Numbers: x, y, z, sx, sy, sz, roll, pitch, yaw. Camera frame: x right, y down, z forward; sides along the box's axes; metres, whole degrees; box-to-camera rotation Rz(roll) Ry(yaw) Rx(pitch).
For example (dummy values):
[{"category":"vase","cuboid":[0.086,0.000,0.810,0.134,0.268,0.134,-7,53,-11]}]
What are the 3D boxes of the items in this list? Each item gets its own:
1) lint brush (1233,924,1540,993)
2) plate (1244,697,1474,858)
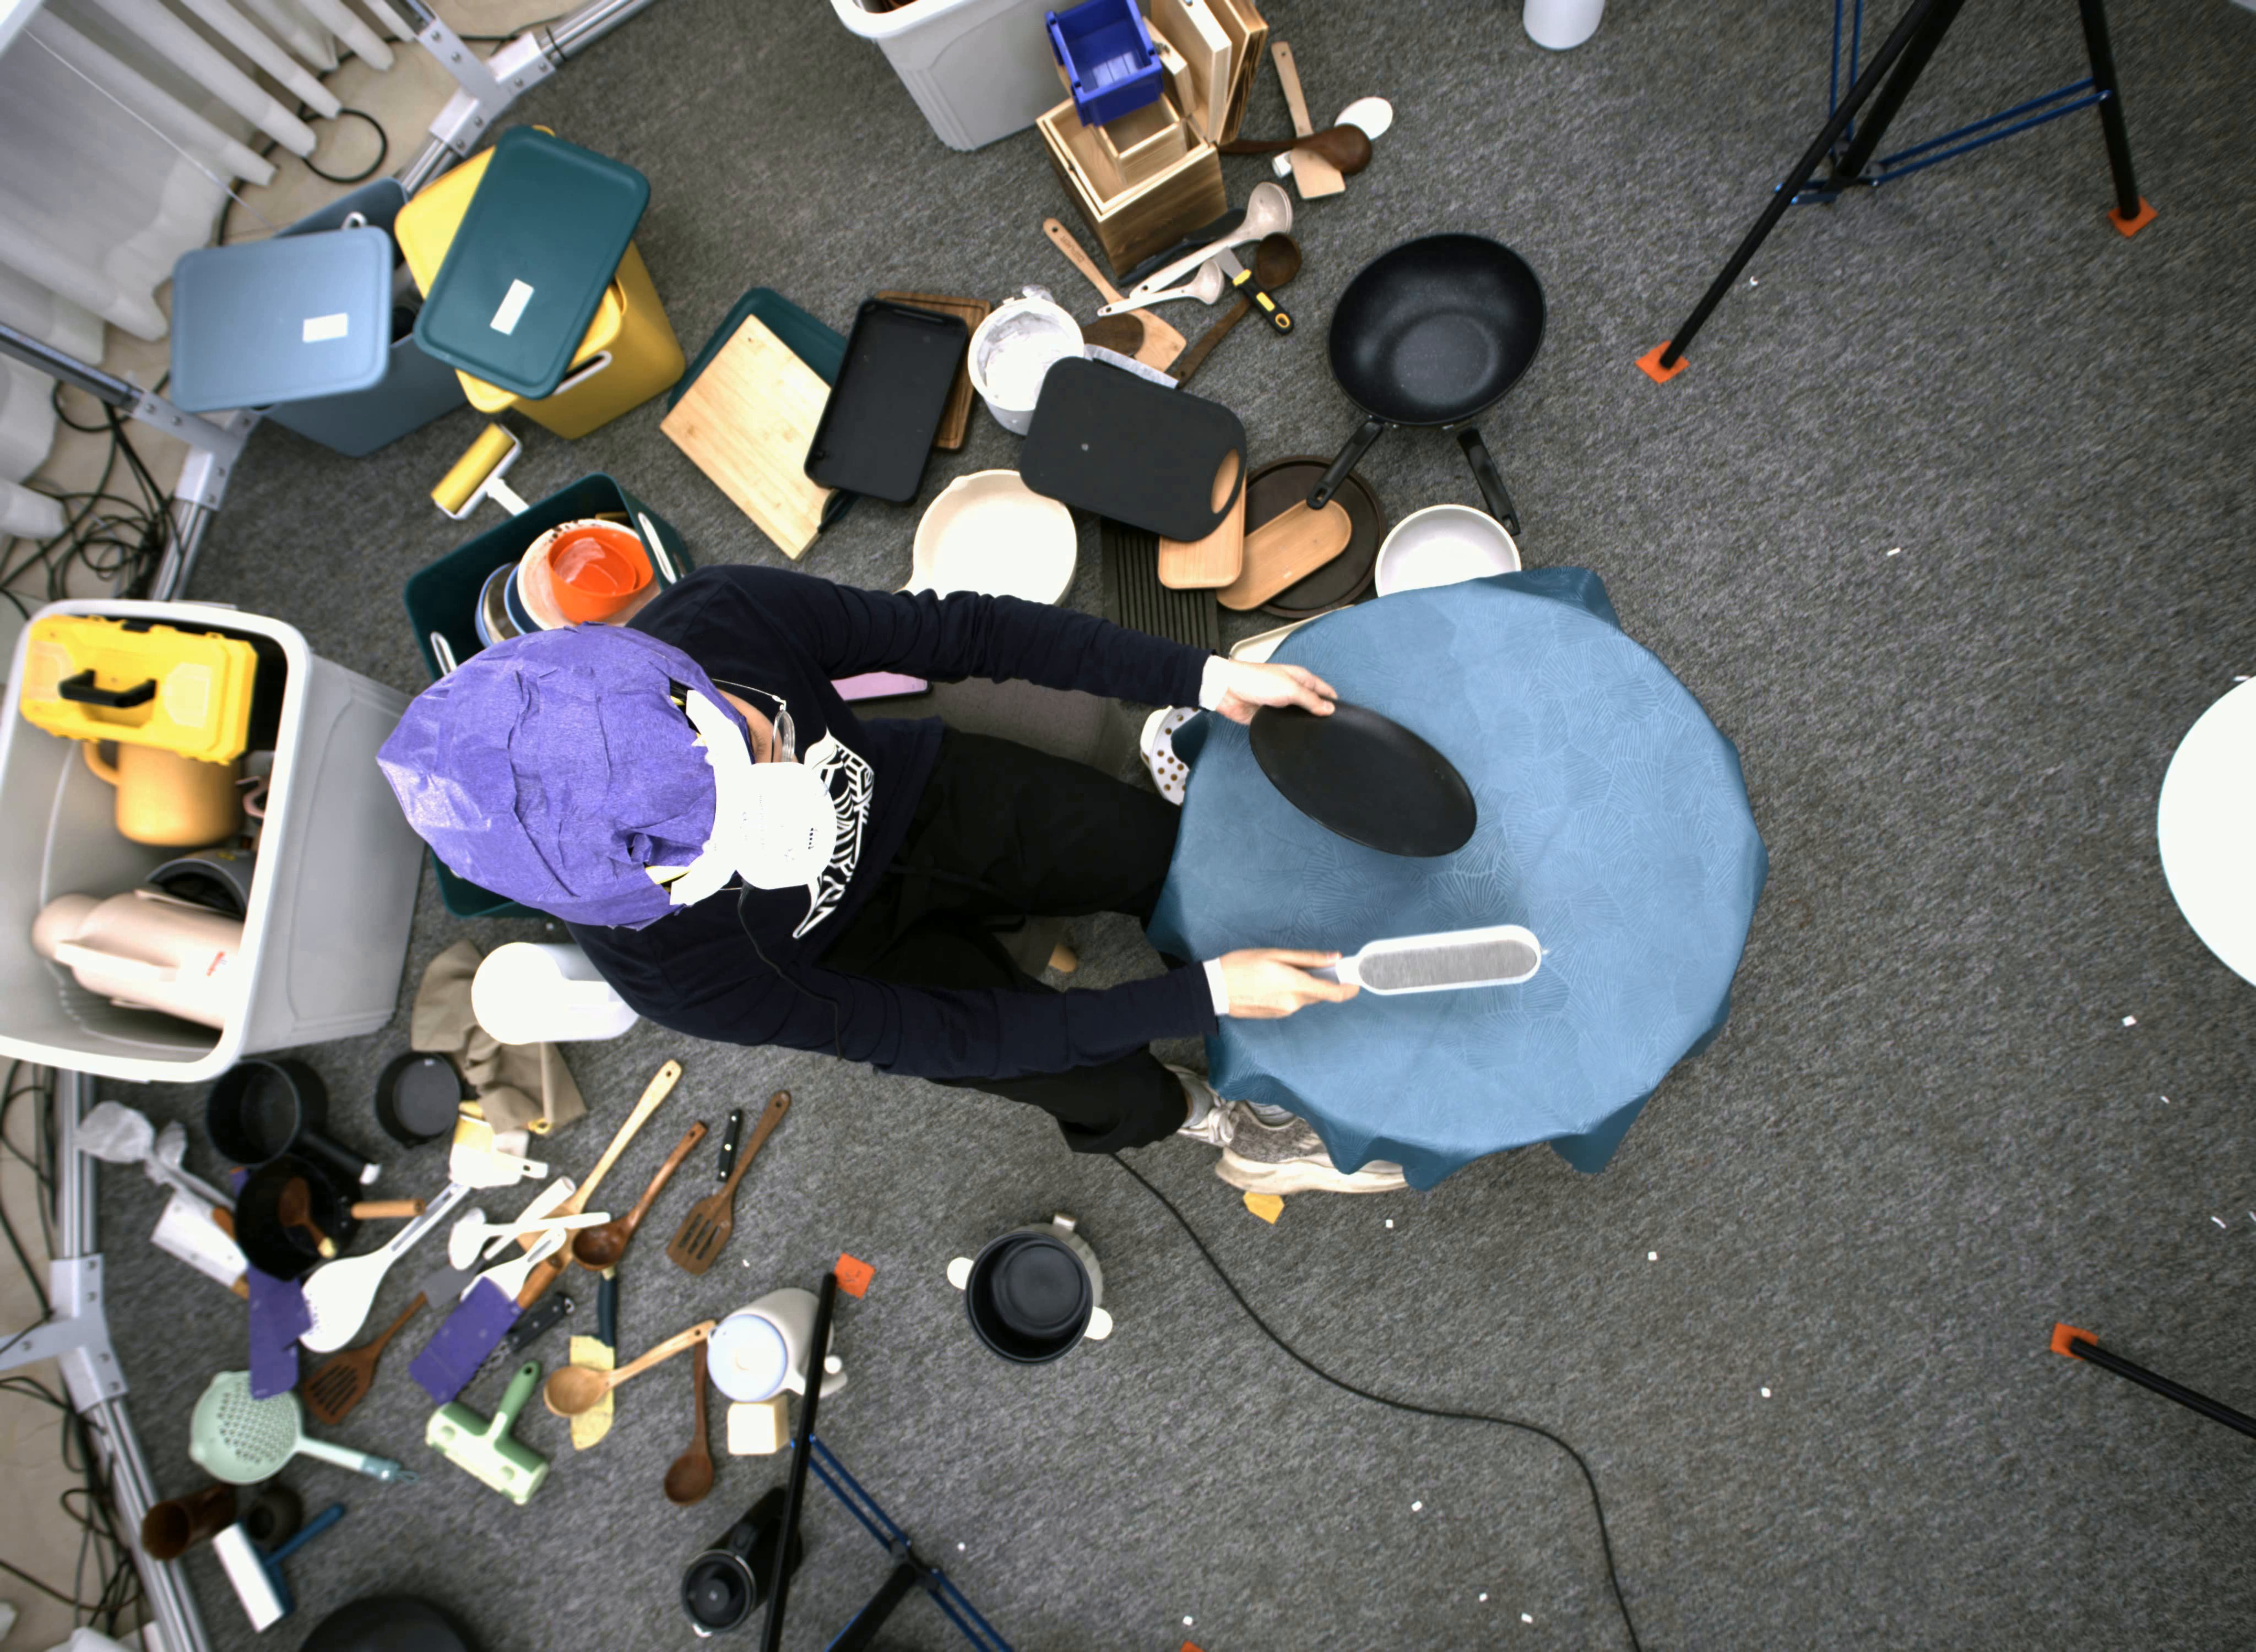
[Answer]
[{"category":"lint brush","cuboid":[0.251,0.135,1.368,0.311,0.020,0.061,-9,121,21]},{"category":"plate","cuboid":[0.225,-0.047,1.353,0.244,0.239,0.024,32,127,11]}]
